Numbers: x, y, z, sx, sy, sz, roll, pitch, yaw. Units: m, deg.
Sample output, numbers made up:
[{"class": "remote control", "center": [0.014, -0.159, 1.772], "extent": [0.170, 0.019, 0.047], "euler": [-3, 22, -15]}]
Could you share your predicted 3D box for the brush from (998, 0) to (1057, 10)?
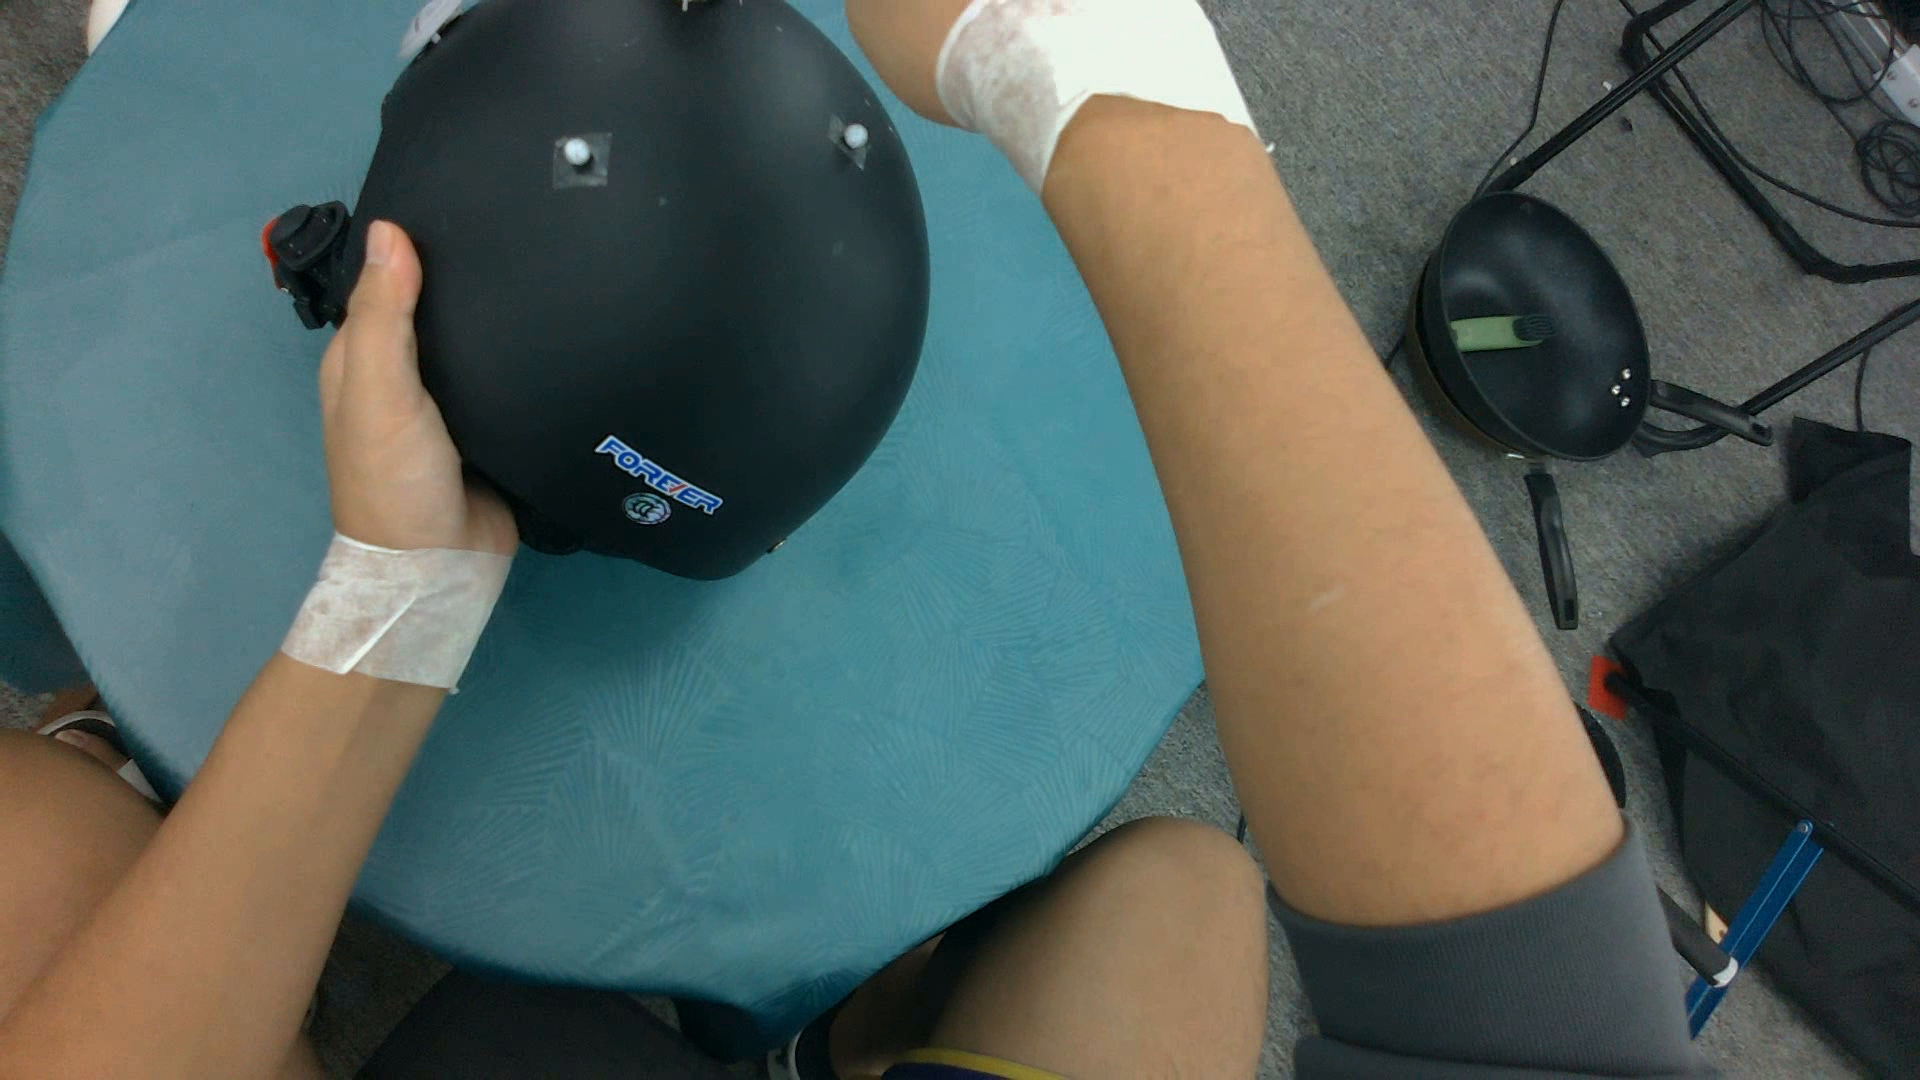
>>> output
[{"class": "brush", "center": [-0.056, -0.188, 0.441], "extent": [0.034, 0.050, 0.244], "euler": [-18, 43, -36]}]

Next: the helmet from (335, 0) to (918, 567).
[{"class": "helmet", "center": [-0.109, -0.133, 0.553], "extent": [0.230, 0.166, 0.274], "euler": [37, 39, -38]}]
